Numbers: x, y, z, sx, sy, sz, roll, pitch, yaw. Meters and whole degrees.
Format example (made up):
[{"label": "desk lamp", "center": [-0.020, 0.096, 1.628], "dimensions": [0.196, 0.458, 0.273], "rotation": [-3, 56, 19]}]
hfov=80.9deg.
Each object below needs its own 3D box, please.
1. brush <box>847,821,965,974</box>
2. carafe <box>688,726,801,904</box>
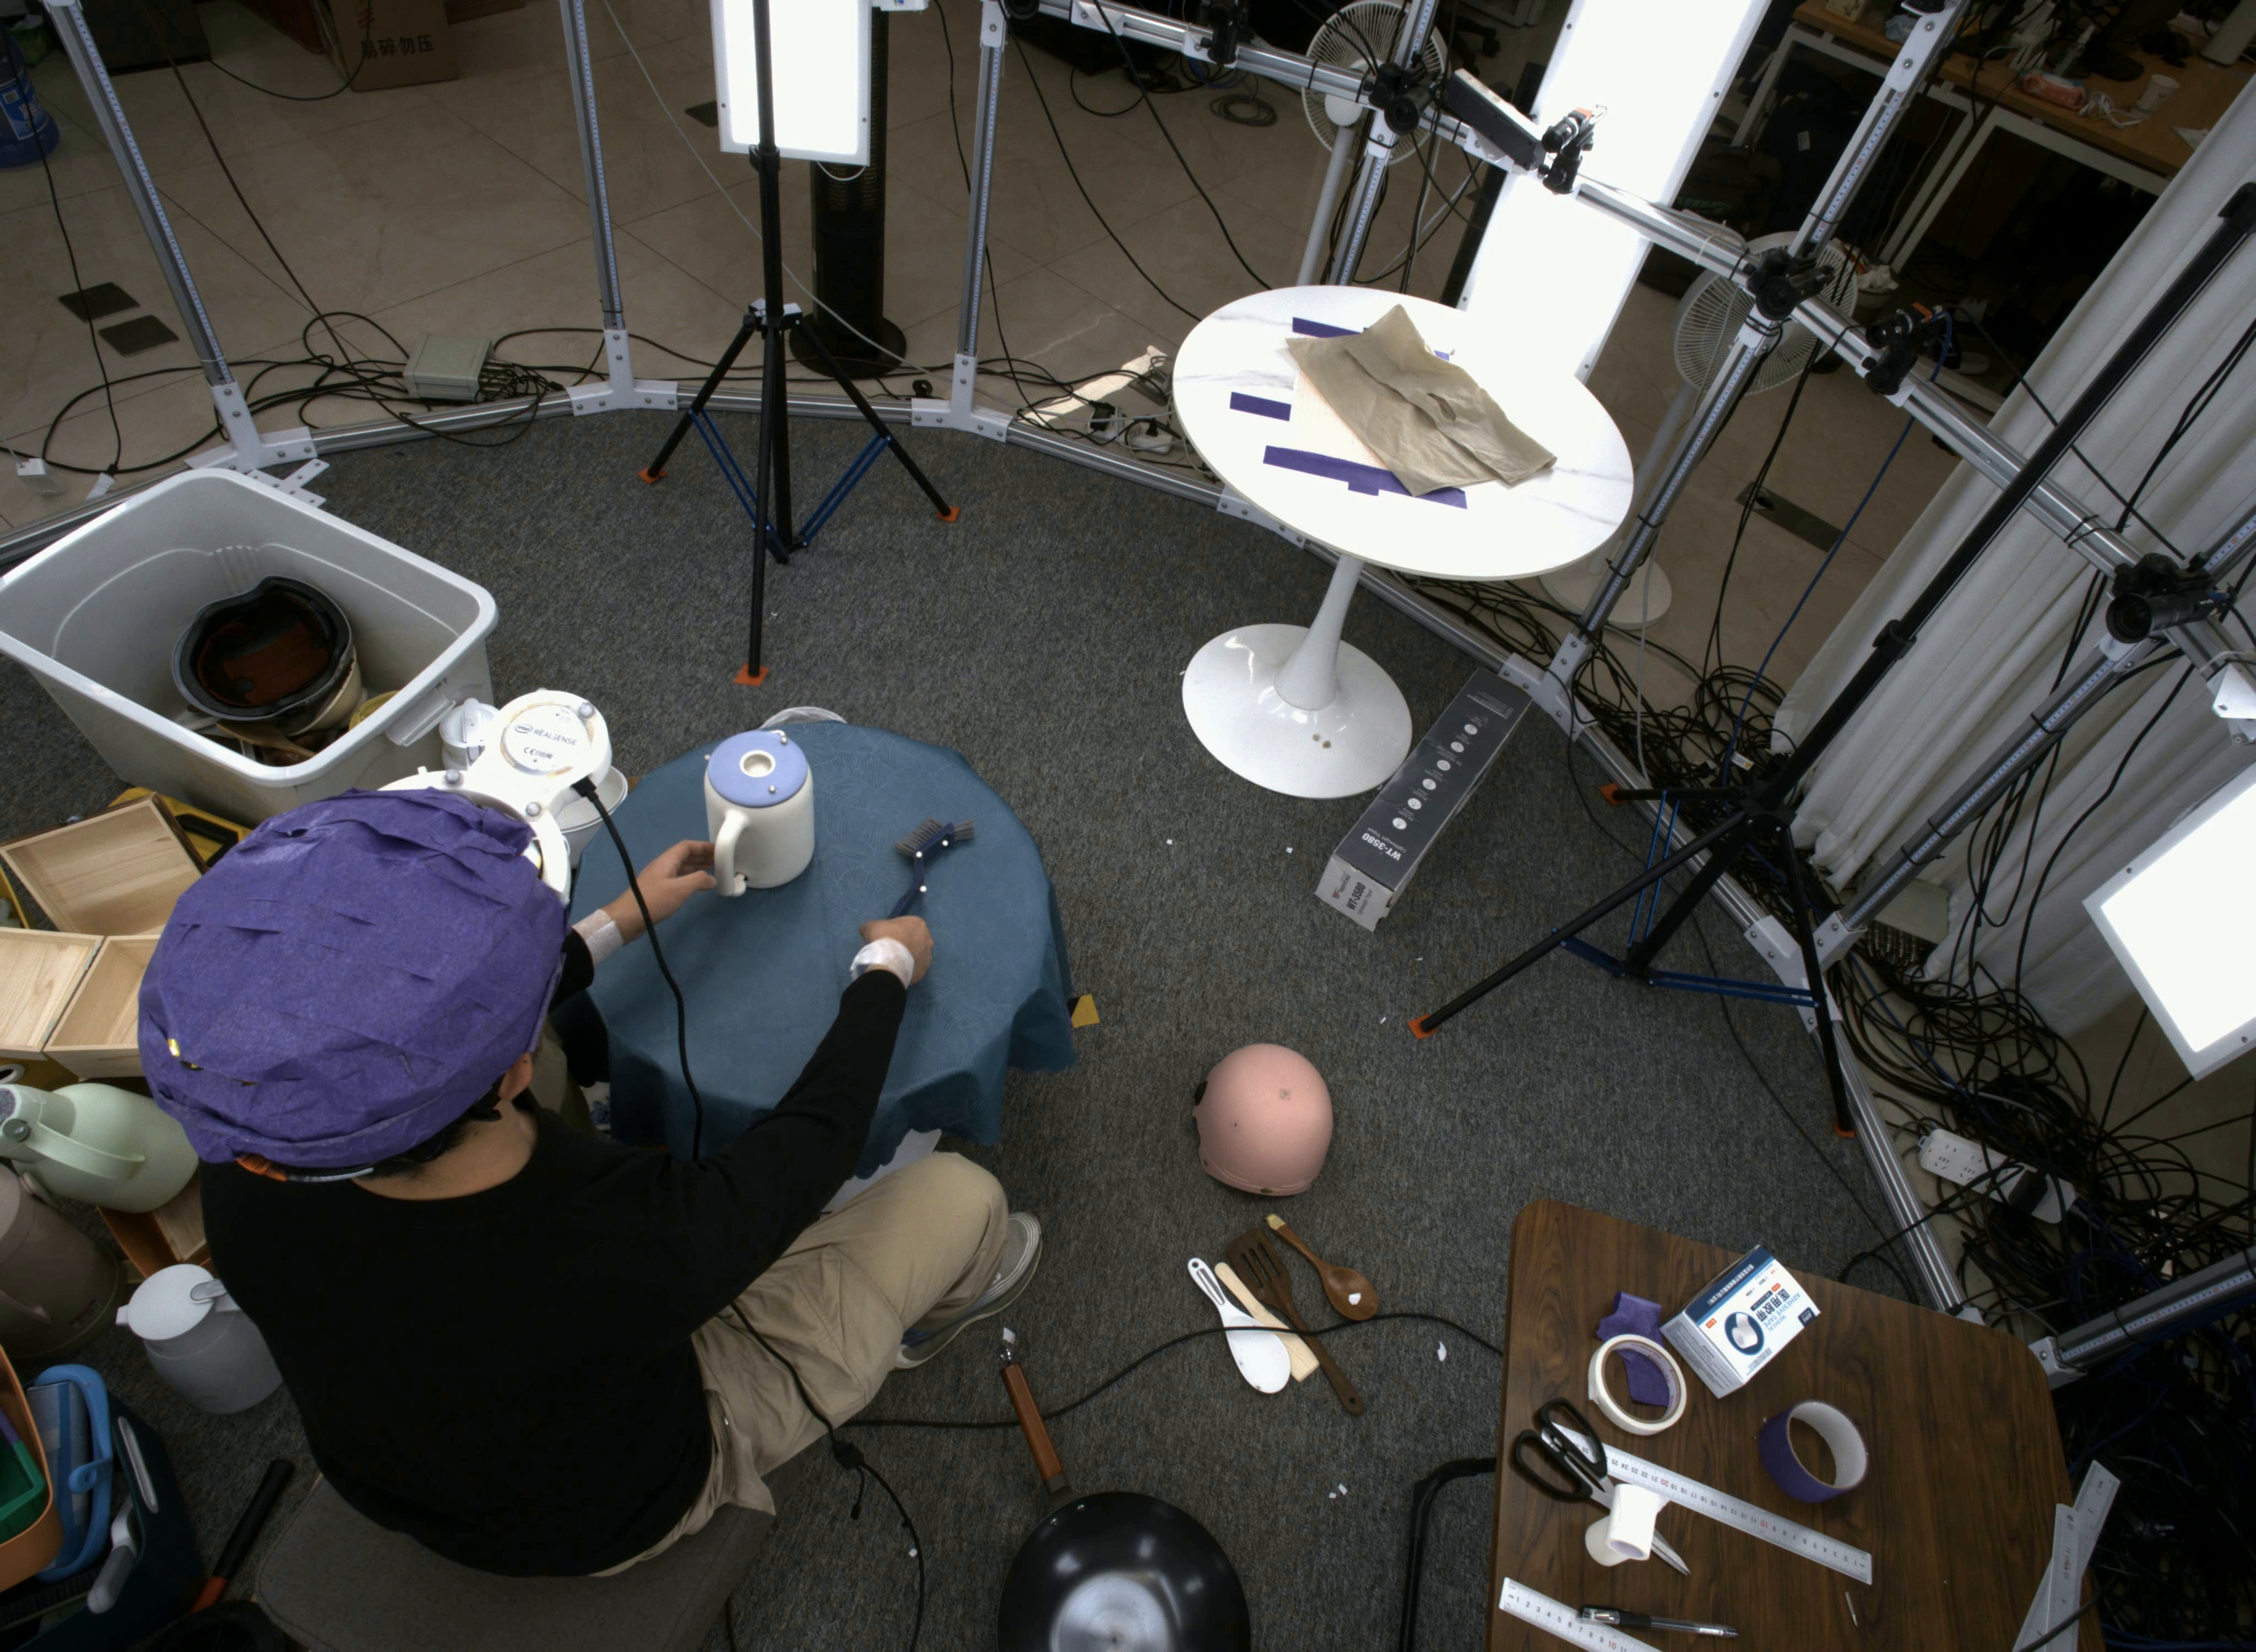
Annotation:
[{"label": "brush", "center": [-0.285, 0.084, 1.658], "dimensions": [0.095, 0.034, 0.269], "rotation": [16, 44, -2]}, {"label": "carafe", "center": [-0.481, -0.002, 1.594], "dimensions": [0.131, 0.186, 0.188], "rotation": [14, 52, -1]}]
